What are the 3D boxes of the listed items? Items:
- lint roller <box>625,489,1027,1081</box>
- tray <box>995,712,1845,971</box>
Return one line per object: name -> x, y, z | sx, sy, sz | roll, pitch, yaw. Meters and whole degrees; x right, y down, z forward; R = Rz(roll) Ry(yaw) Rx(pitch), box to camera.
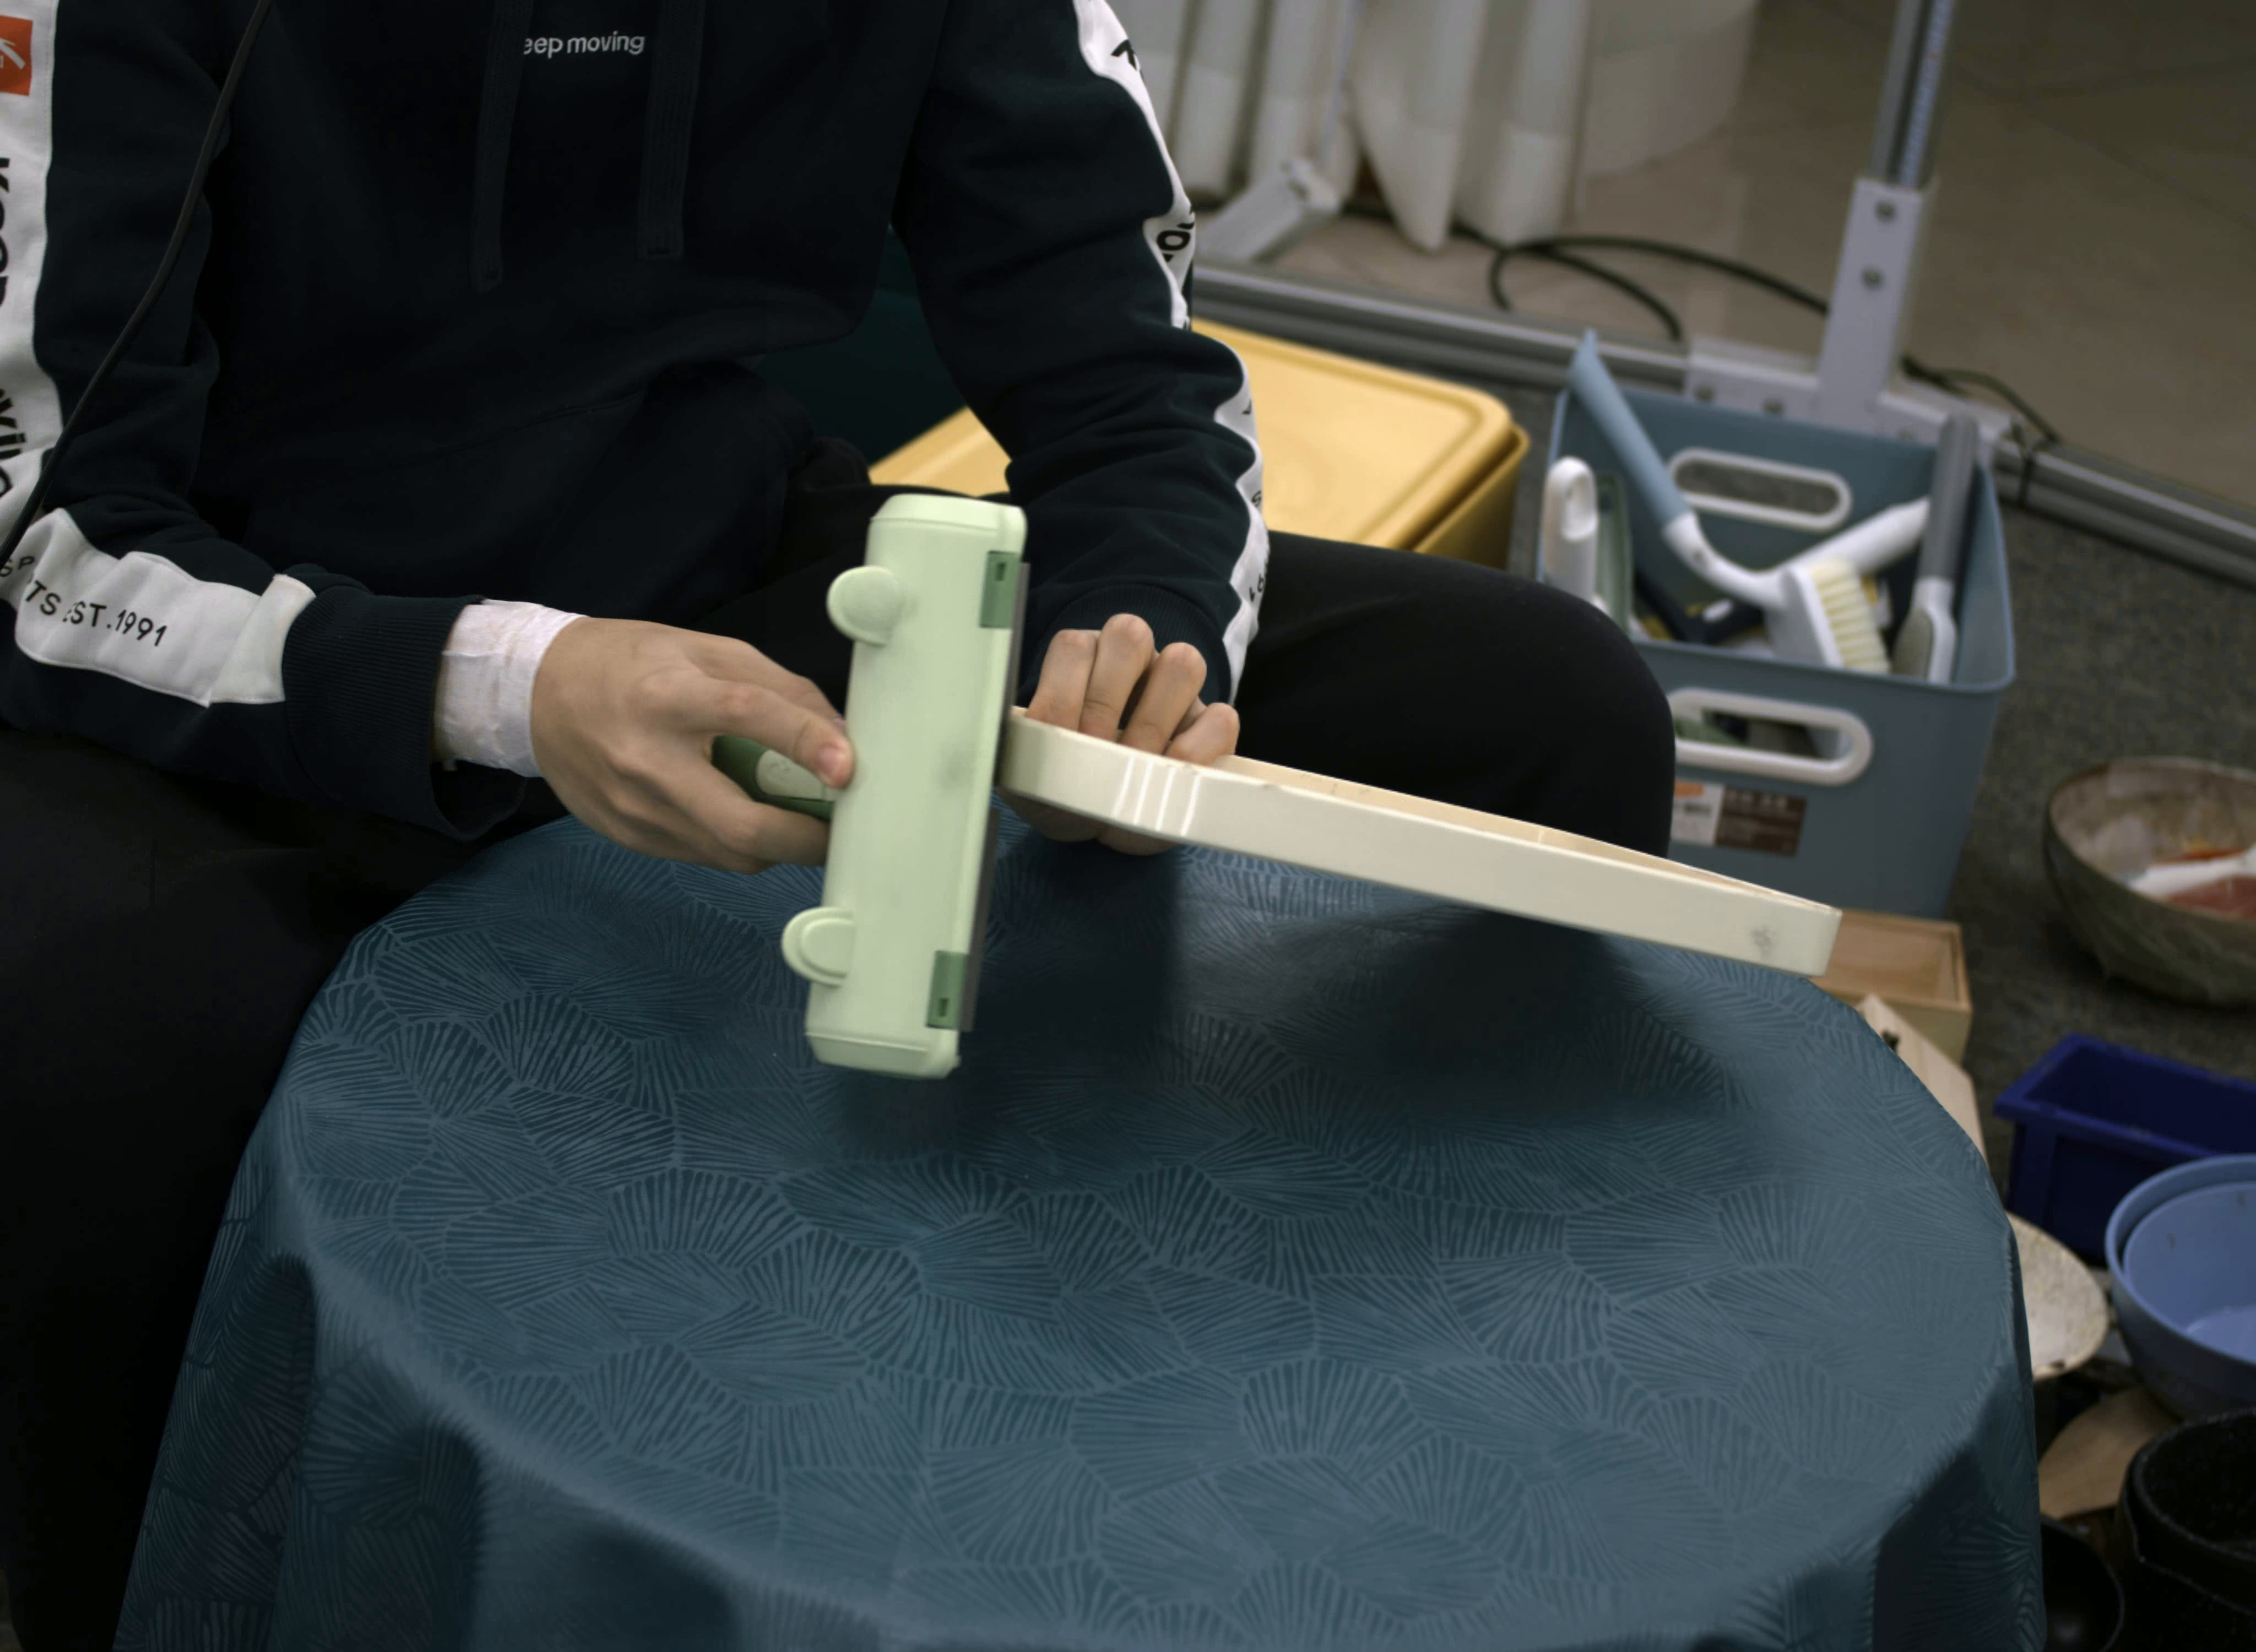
lint roller -> -0.119, -0.019, 1.822 | 0.184, 0.199, 0.081 | 5, -4, 34
tray -> 0.085, 0.003, 1.877 | 0.298, 0.027, 0.193 | 12, 1, -30
